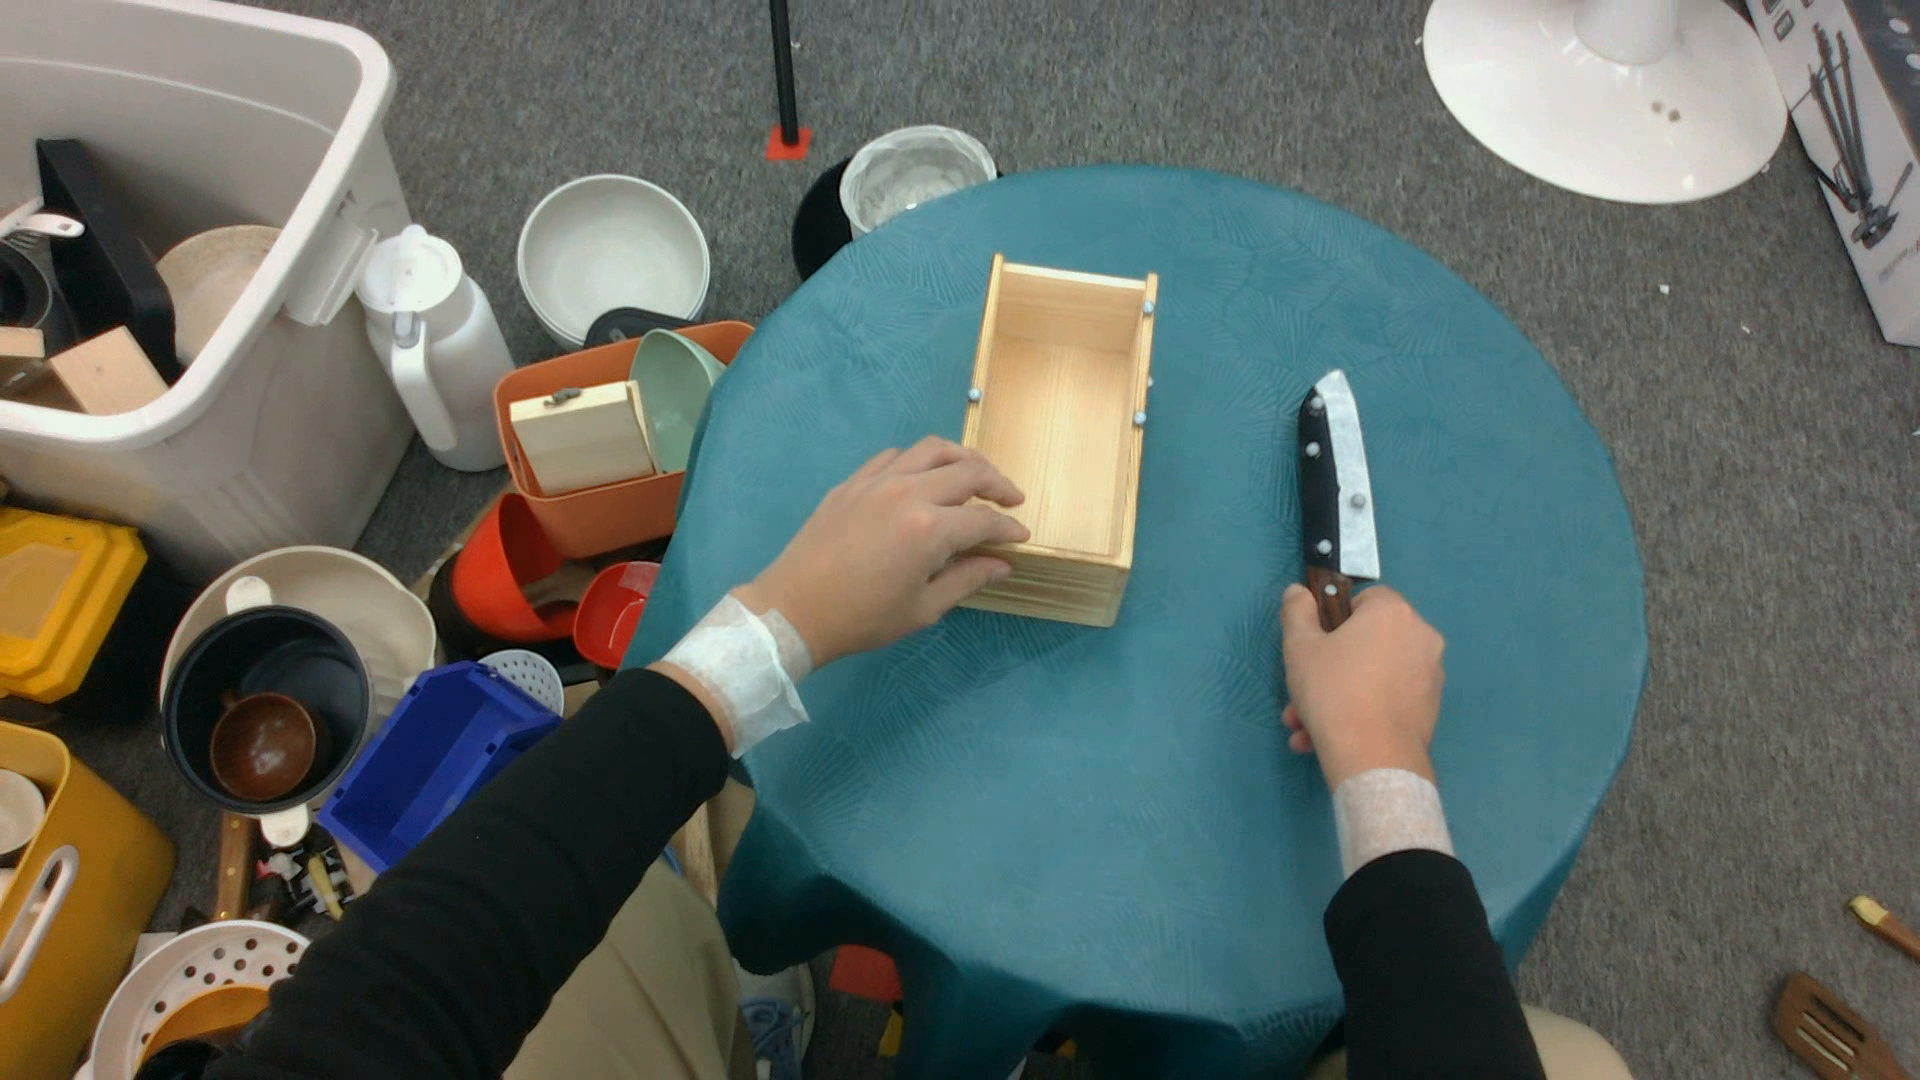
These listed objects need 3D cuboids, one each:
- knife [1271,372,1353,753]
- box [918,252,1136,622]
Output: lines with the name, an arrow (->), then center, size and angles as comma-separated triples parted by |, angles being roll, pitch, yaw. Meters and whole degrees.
knife -> 0.214, 0.001, 0.838 | 0.050, 0.020, 0.290 | 10, 53, 0
box -> 0.043, -0.066, 0.846 | 0.107, 0.080, 0.212 | 8, 60, 2
